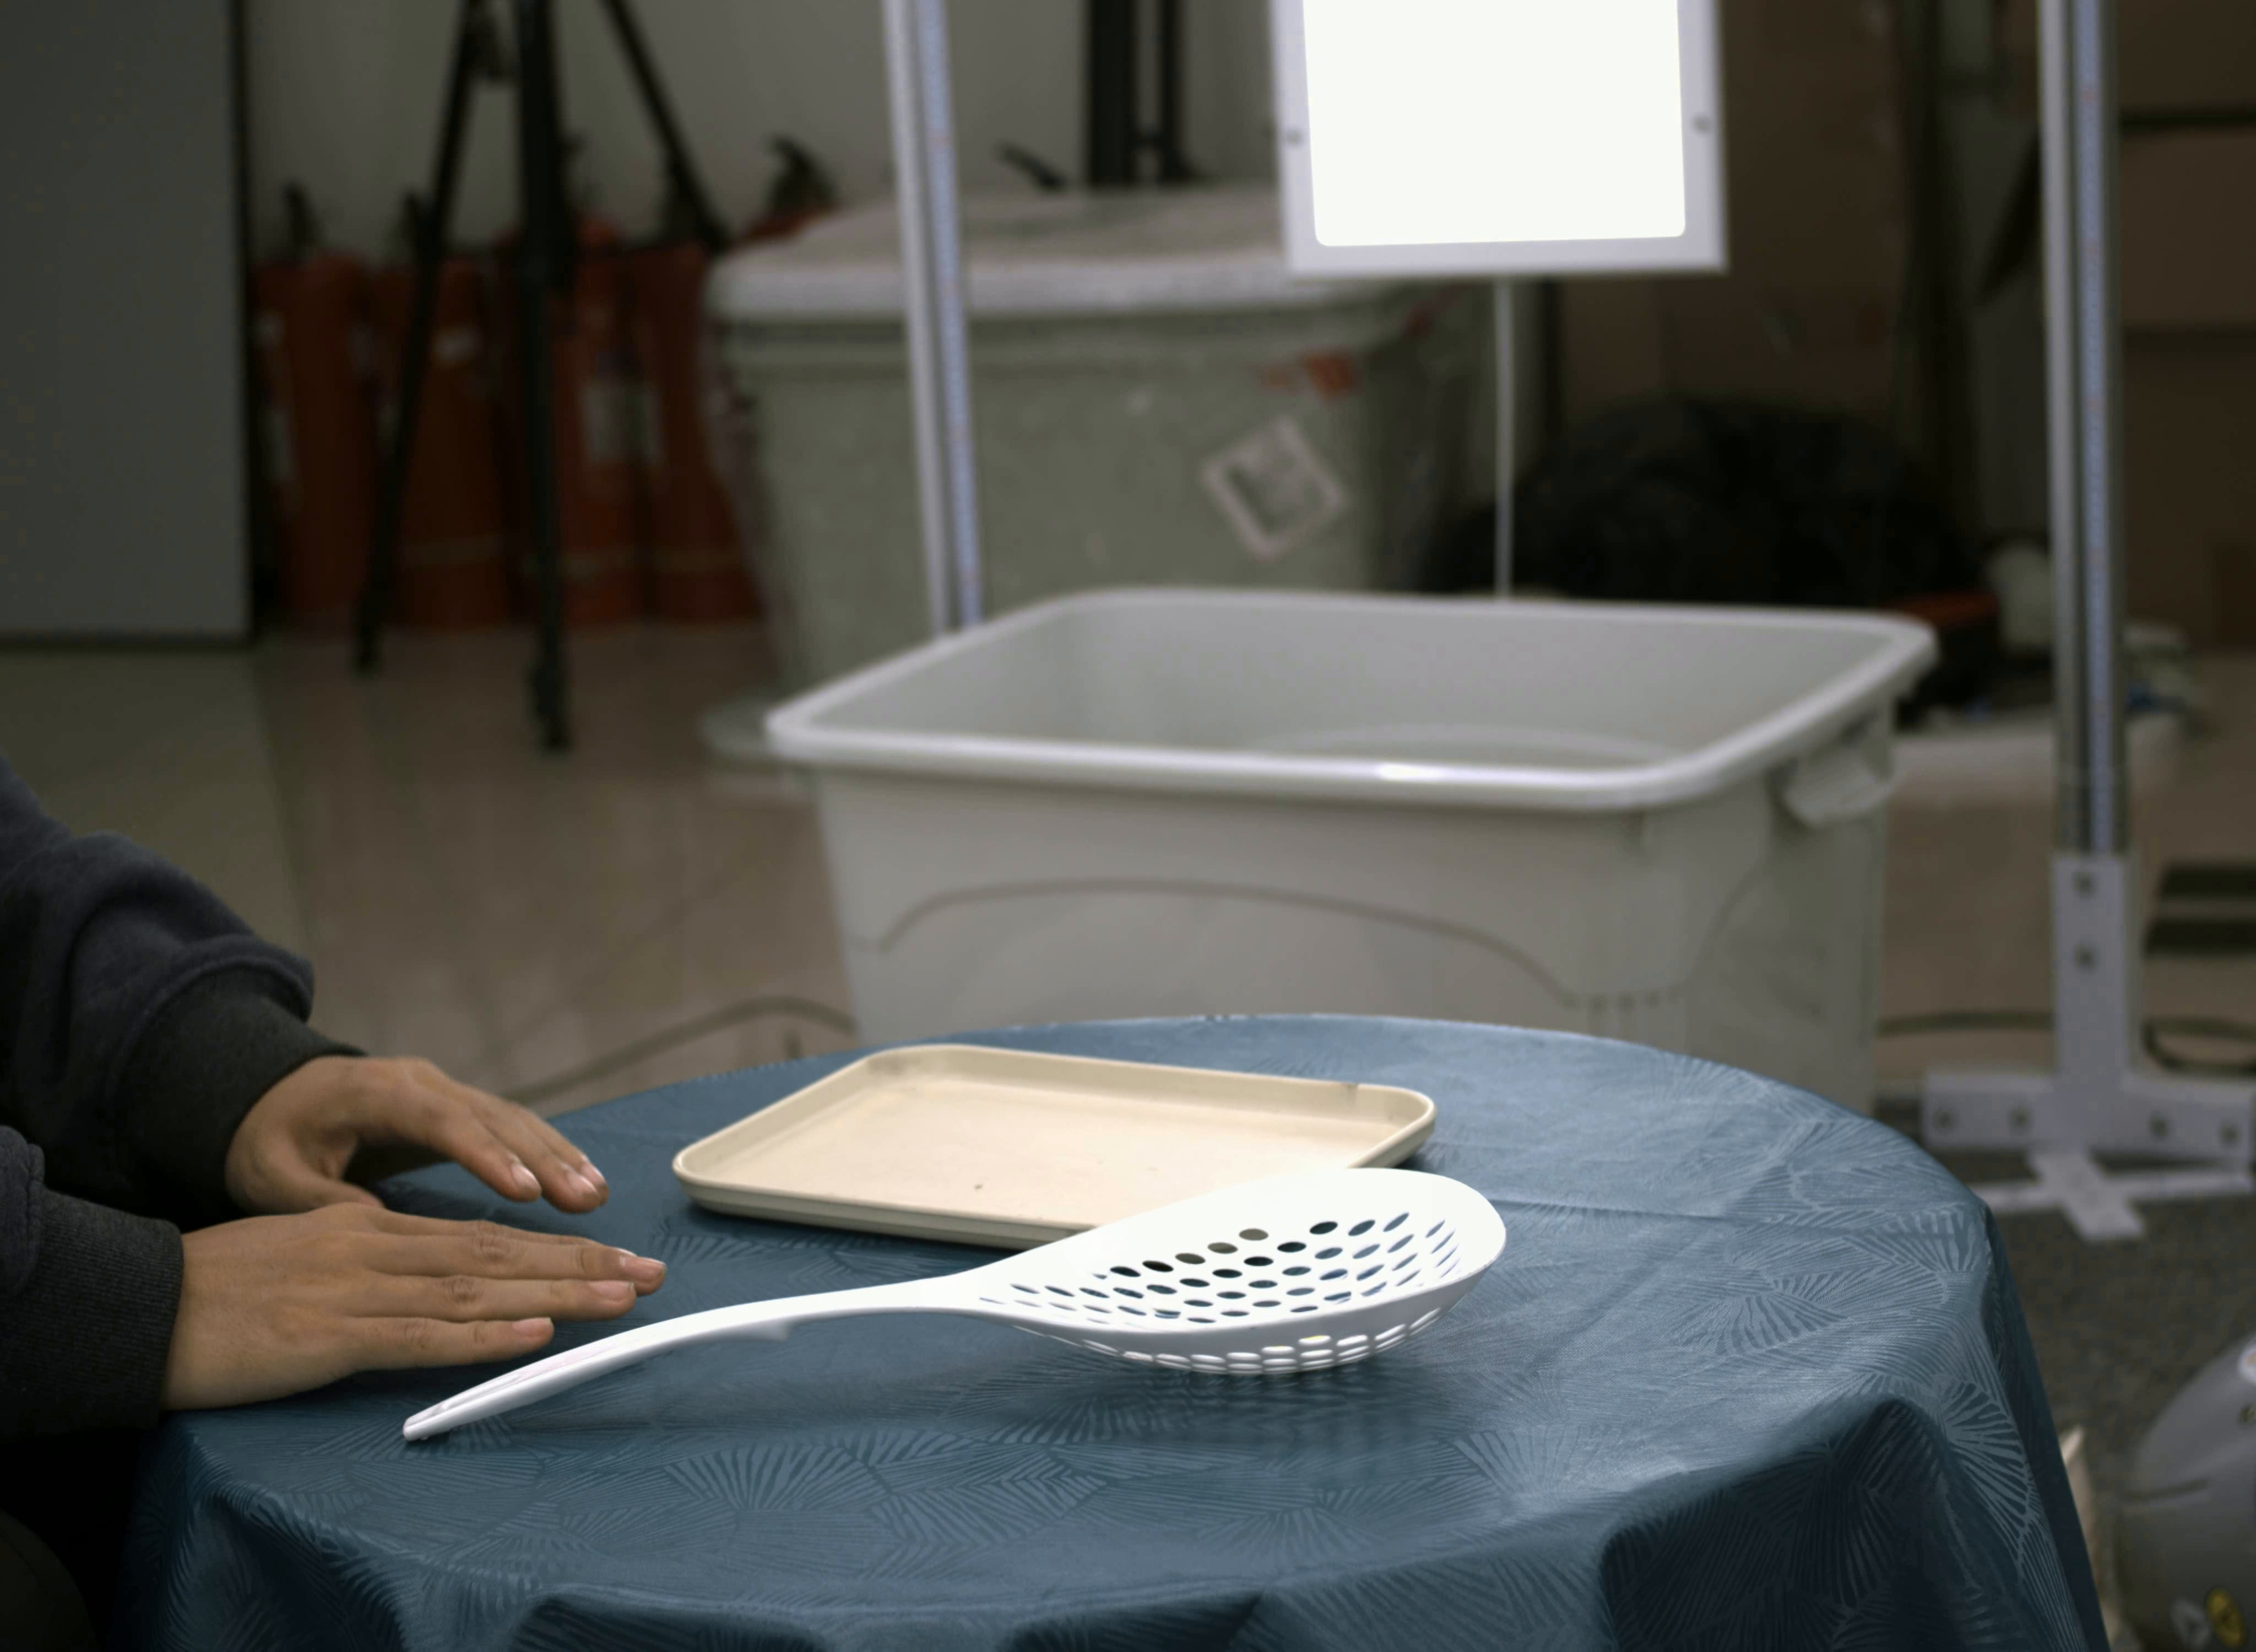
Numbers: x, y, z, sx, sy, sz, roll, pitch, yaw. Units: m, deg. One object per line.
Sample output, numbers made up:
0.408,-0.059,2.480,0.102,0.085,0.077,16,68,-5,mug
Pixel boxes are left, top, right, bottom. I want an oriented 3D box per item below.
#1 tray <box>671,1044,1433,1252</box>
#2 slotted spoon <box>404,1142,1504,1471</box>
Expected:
-0.026,0.114,1.919,0.244,0.017,0.167,4,17,33,tray
-0.054,0.156,1.713,0.346,0.050,0.137,-6,17,-1,slotted spoon
